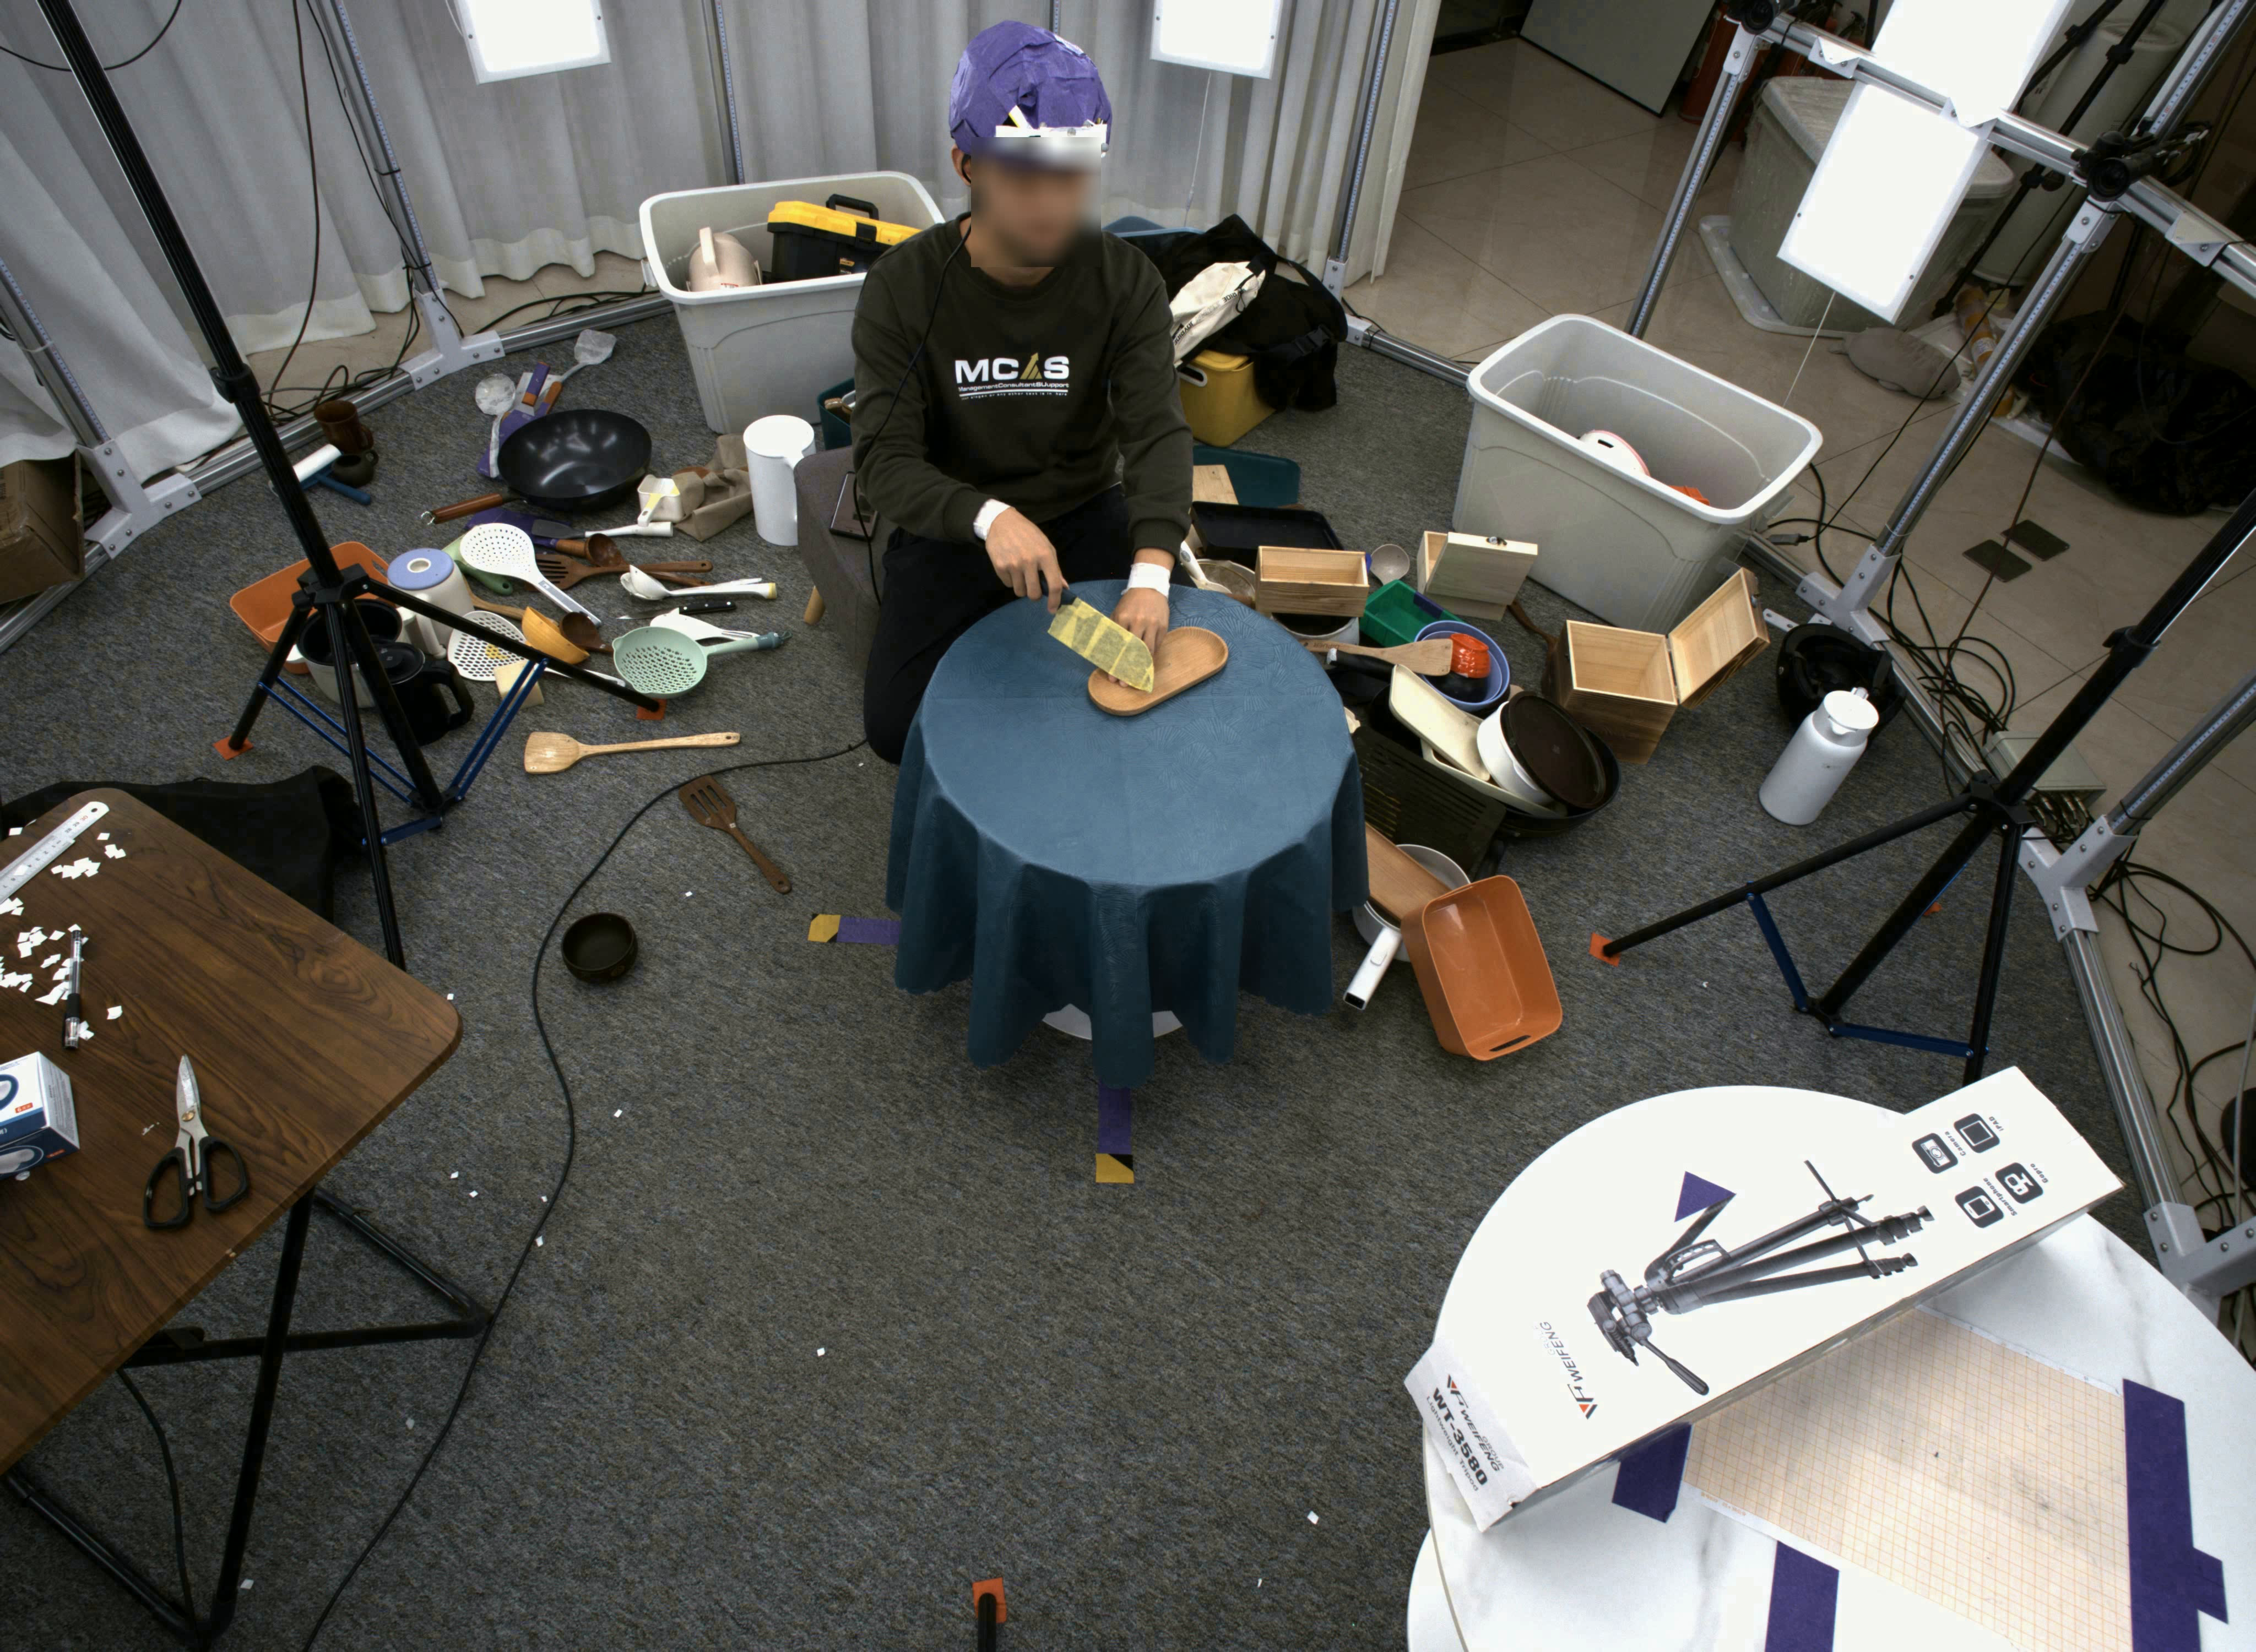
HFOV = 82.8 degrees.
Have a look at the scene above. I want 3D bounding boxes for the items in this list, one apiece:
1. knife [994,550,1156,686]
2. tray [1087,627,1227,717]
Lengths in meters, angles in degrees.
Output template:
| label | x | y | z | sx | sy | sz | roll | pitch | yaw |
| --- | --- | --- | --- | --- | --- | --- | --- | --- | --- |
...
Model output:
| label | x | y | z | sx | sy | sz | roll | pitch | yaw |
| --- | --- | --- | --- | --- | --- | --- | --- | --- | --- |
| knife | -0.077 | -0.292 | 1.817 | 0.290 | 0.080 | 0.027 | 38 | 31 | 6 |
| tray | 0.043 | -0.223 | 1.854 | 0.232 | 0.020 | 0.103 | -31 | 56 | -25 |
